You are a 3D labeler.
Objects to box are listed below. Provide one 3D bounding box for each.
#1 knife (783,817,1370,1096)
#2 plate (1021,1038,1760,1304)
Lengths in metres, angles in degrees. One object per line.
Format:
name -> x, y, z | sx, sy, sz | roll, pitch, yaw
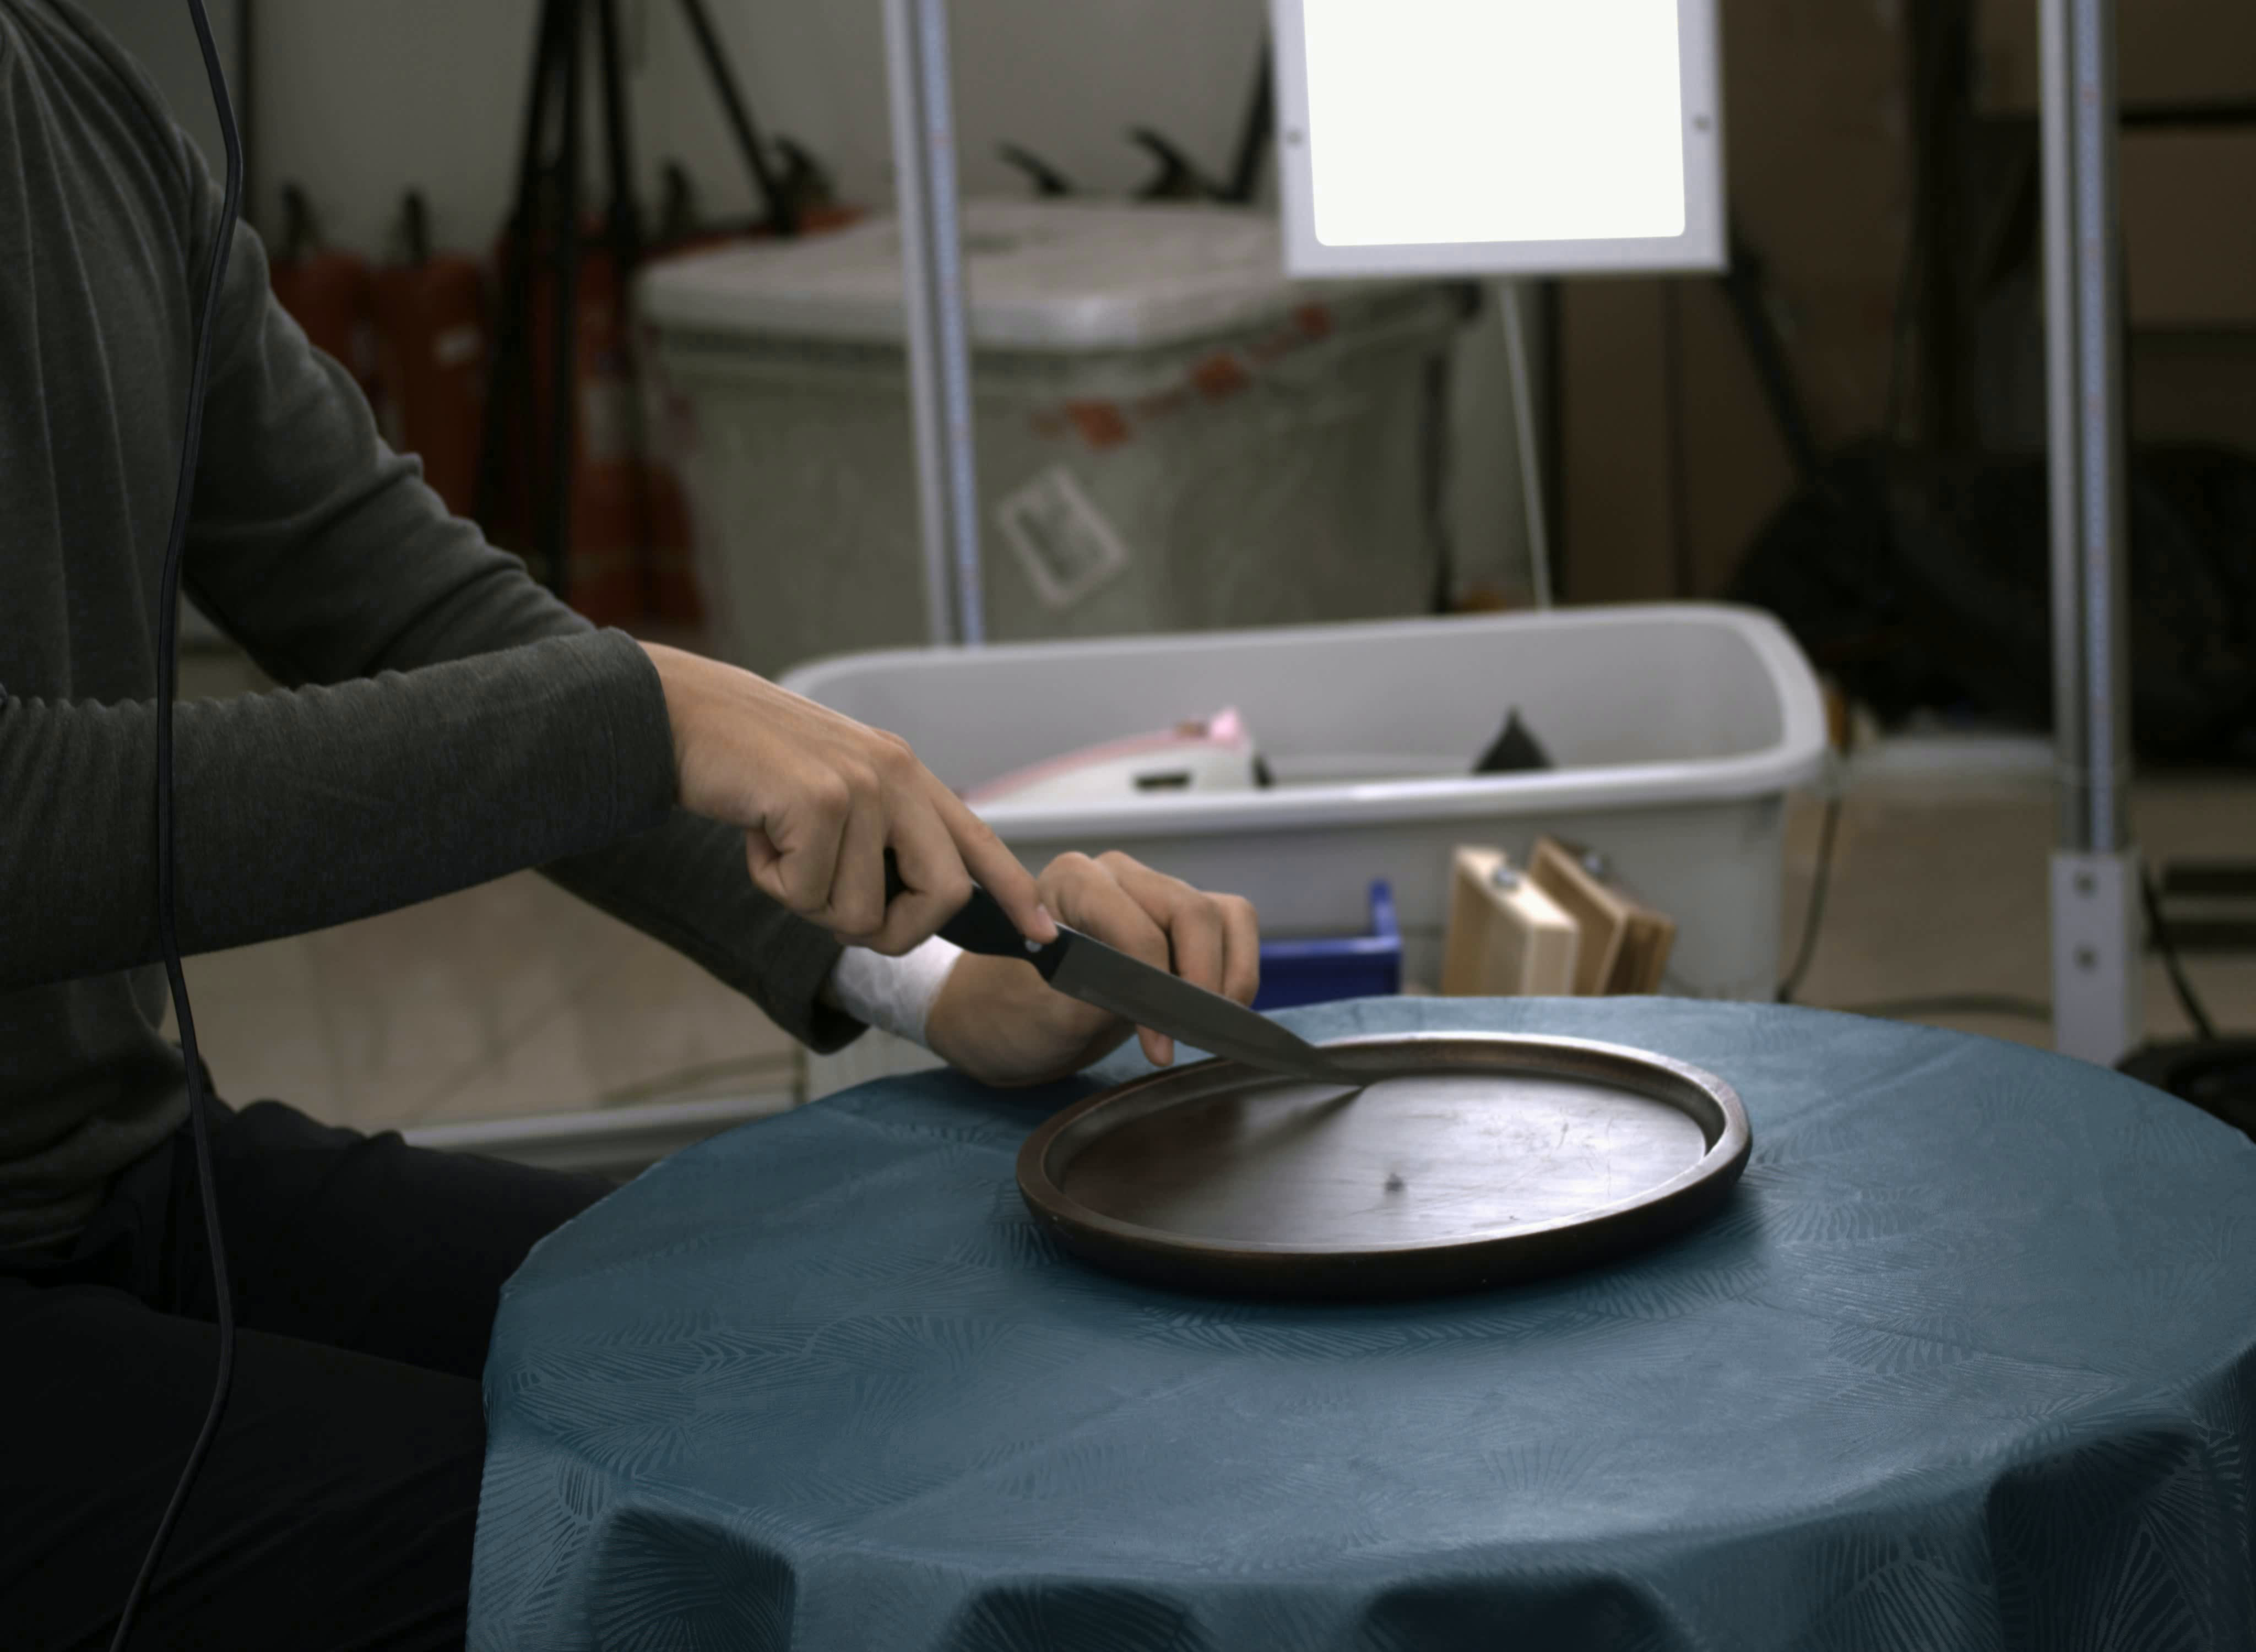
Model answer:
knife -> -0.013, 0.048, 1.922 | 0.235, 0.024, 0.016 | 25, 3, -18
plate -> 0.089, 0.115, 1.871 | 0.254, 0.029, 0.254 | -4, 13, 0
